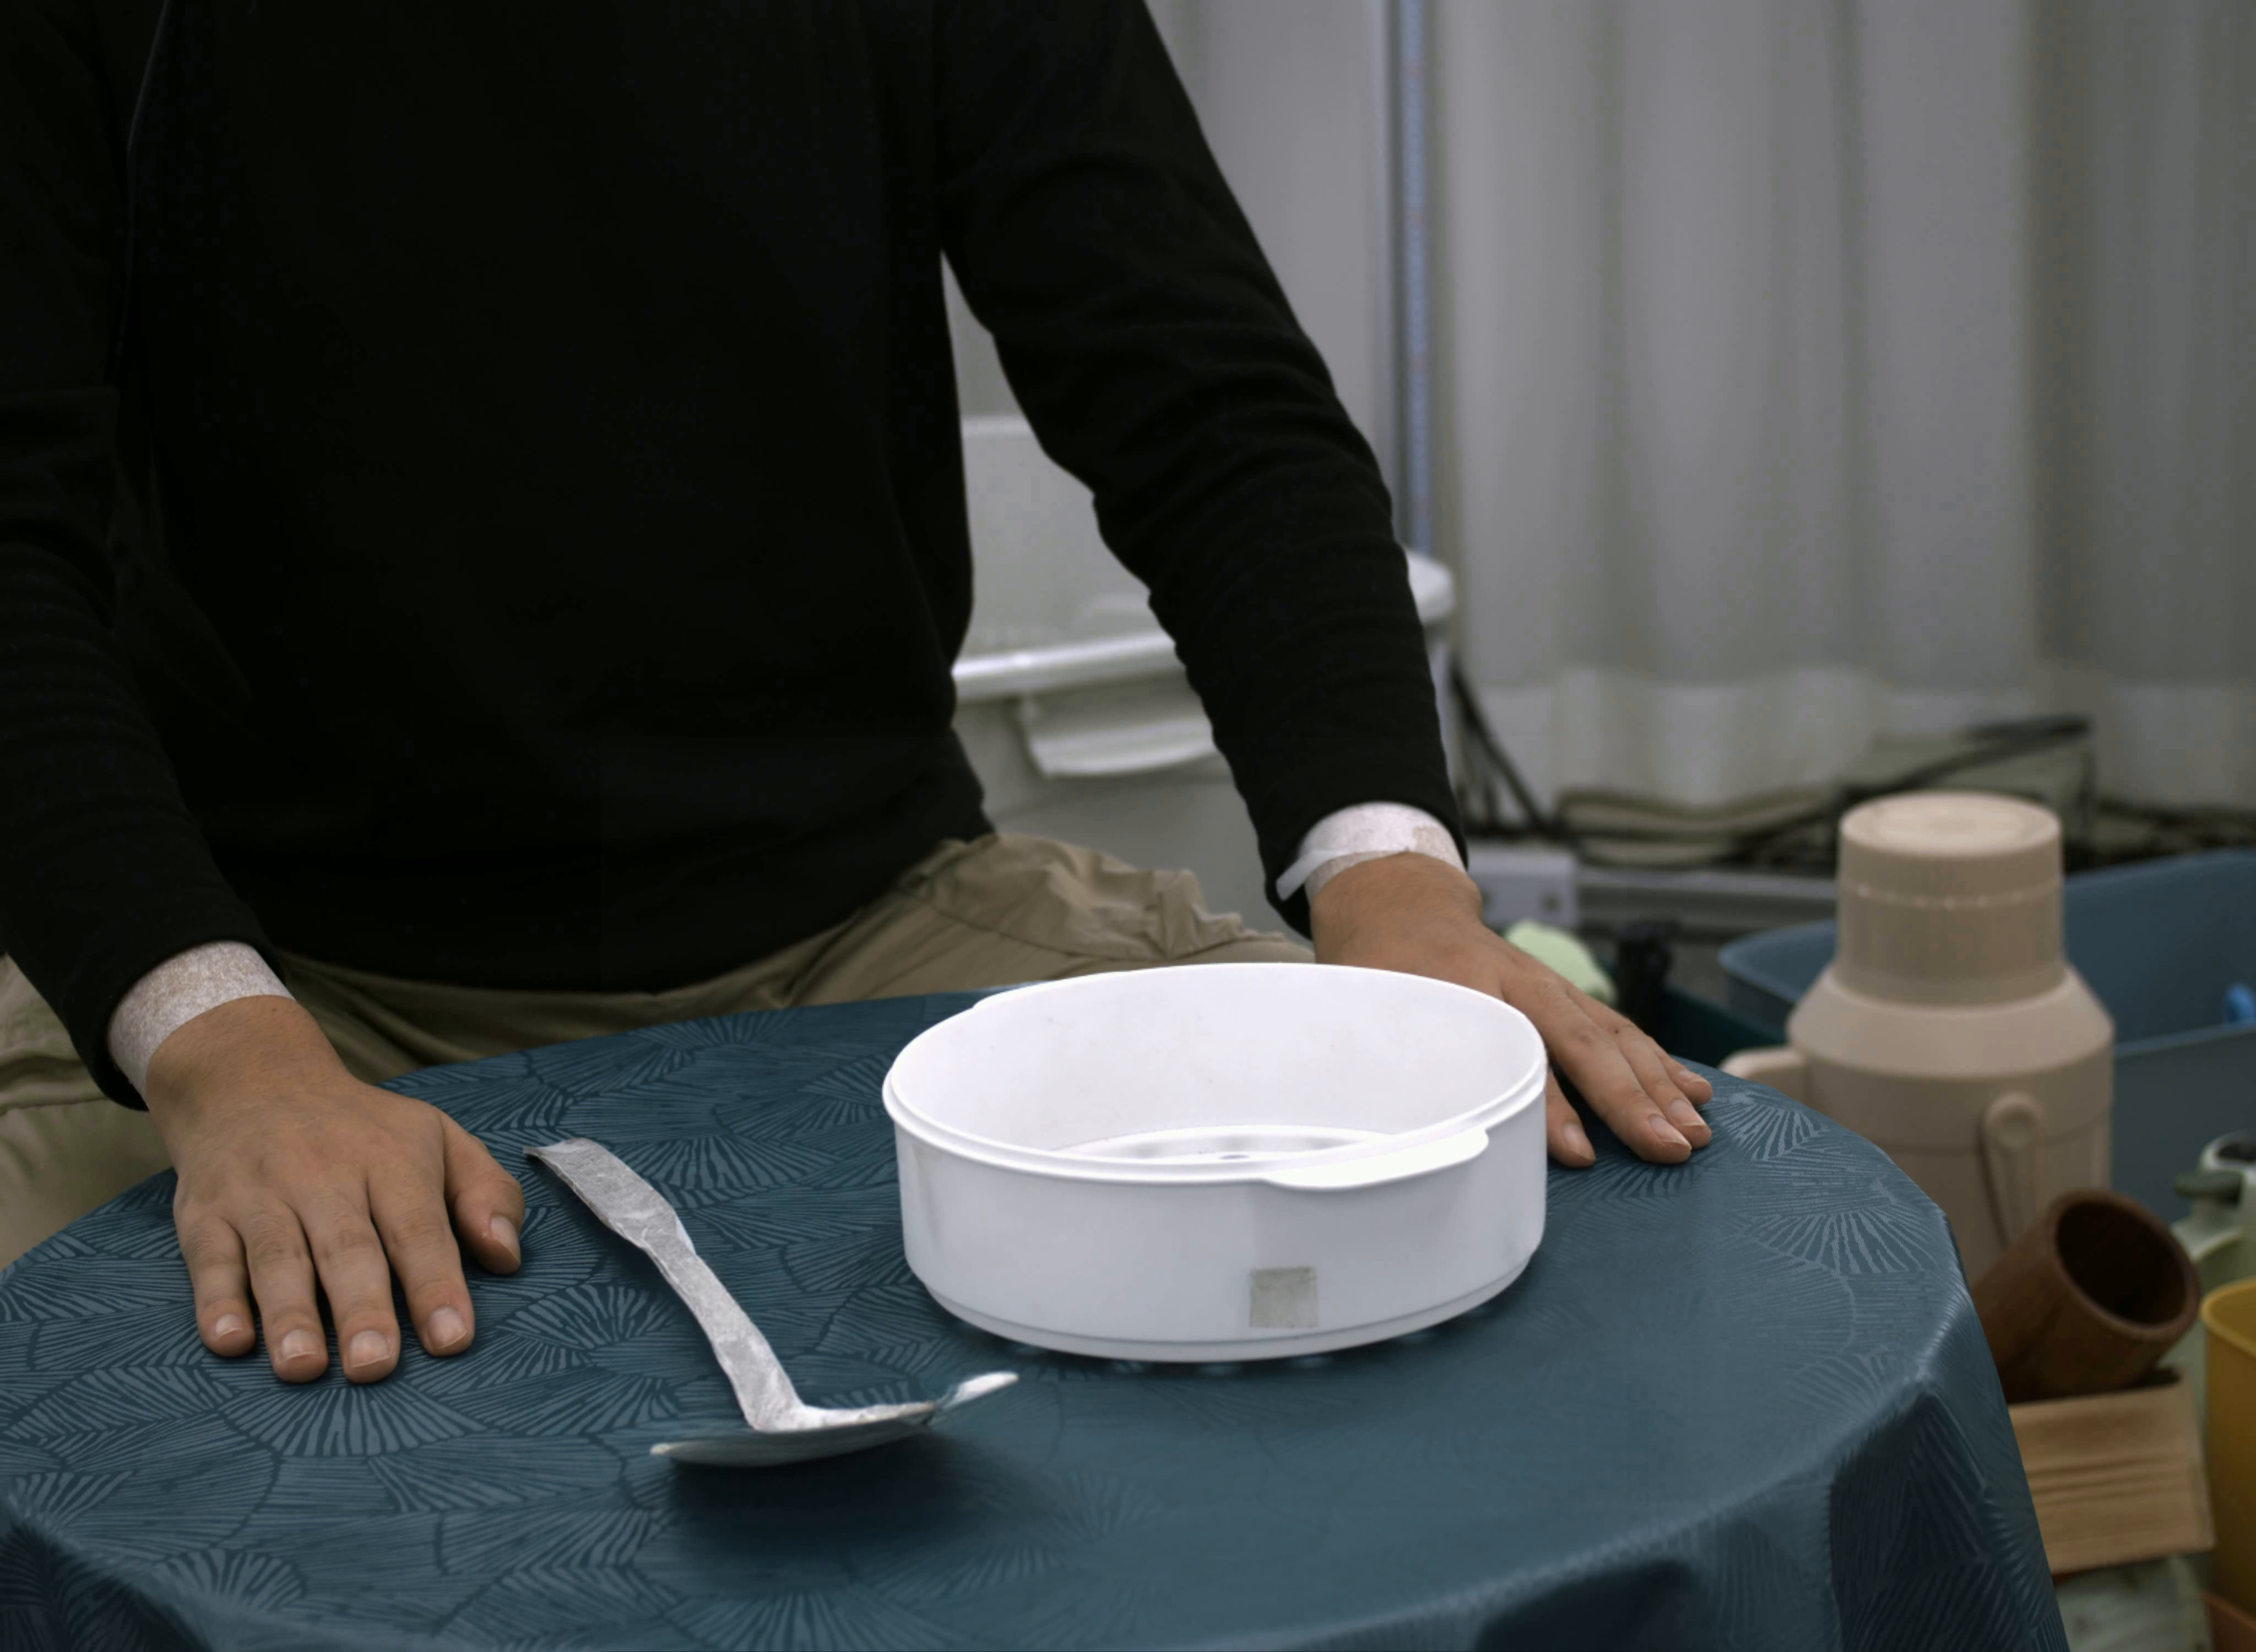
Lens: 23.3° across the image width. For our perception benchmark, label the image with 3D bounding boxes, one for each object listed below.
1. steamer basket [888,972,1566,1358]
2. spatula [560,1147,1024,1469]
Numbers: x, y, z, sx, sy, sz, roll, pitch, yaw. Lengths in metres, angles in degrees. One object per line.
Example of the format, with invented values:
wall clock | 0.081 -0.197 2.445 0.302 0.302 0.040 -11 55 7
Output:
steamer basket | 0.030 0.101 1.627 0.201 0.069 0.232 -9 15 -25
spatula | -0.123 0.131 1.602 0.098 0.044 0.368 -10 16 -17
